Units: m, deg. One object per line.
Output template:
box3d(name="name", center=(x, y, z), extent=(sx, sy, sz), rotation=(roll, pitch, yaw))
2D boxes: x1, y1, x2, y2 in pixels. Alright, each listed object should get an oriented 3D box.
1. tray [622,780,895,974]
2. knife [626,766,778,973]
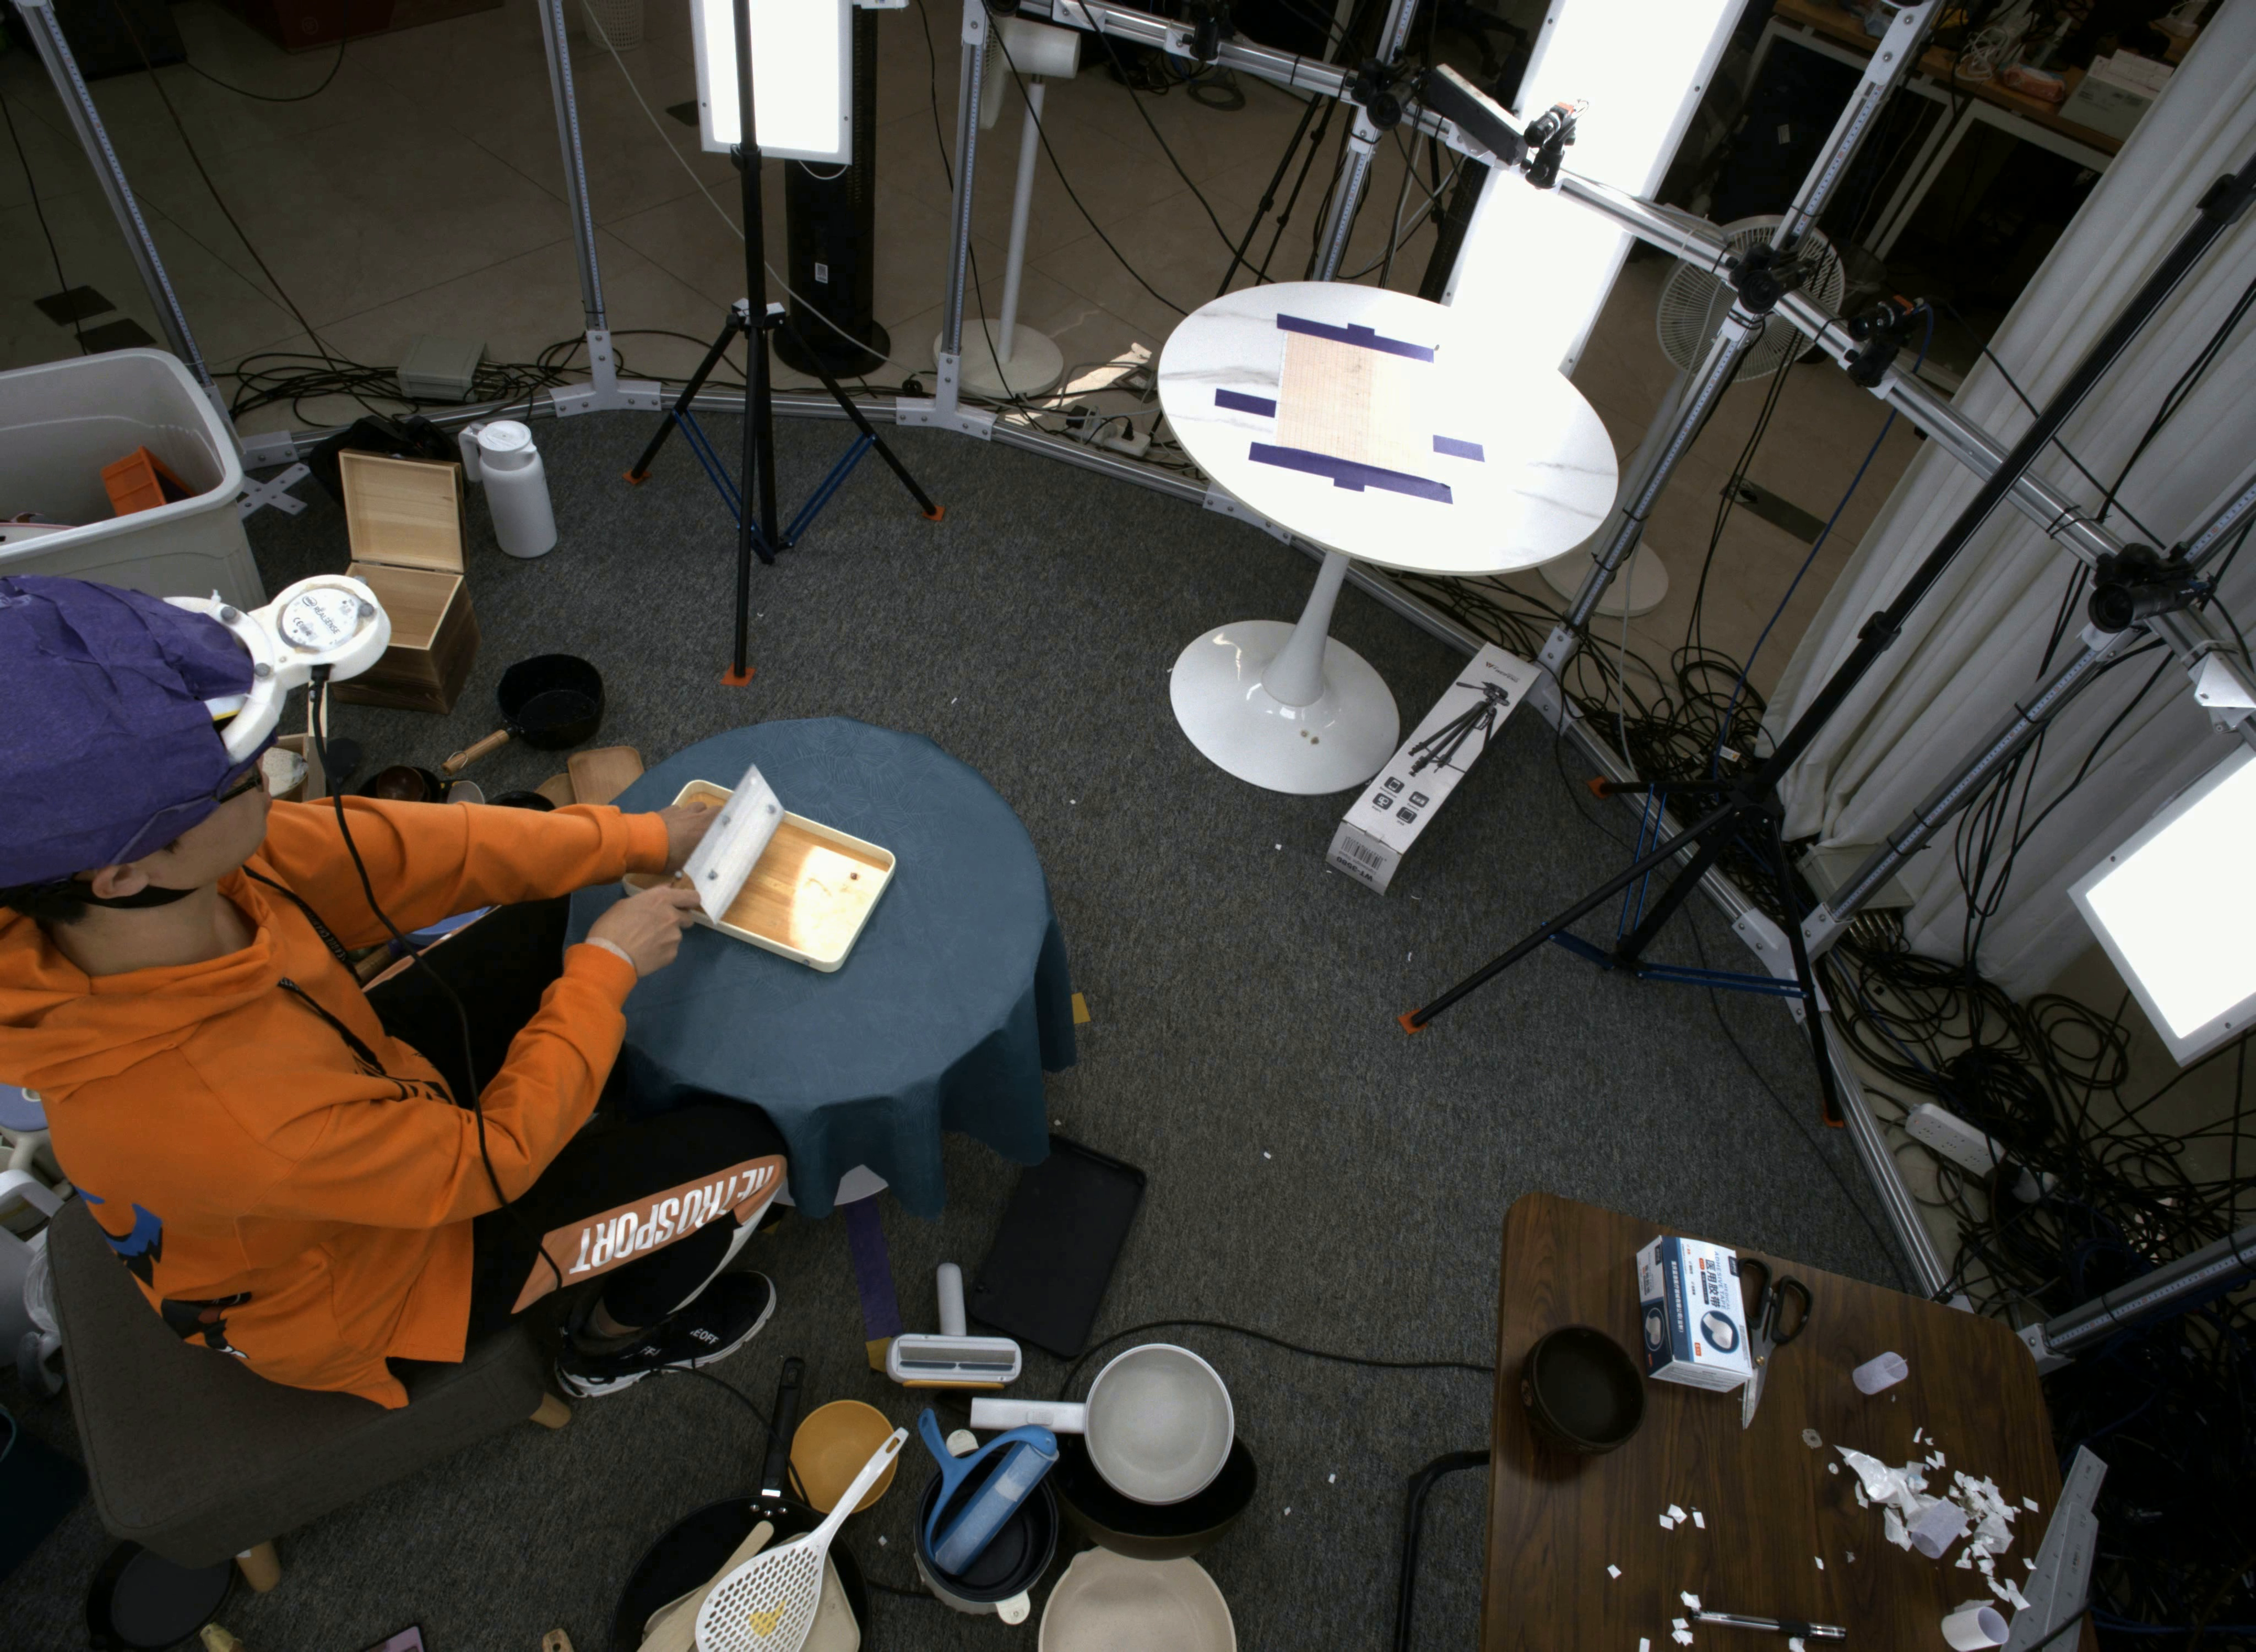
box3d(name="tray", center=(-0.466, 0.059, 1.640), extent=(0.297, 0.028, 0.190), rotation=(21, 51, 1))
box3d(name="knife", center=(-0.496, 0.061, 1.532), extent=(0.020, 0.096, 0.303), rotation=(1, 47, 24))
